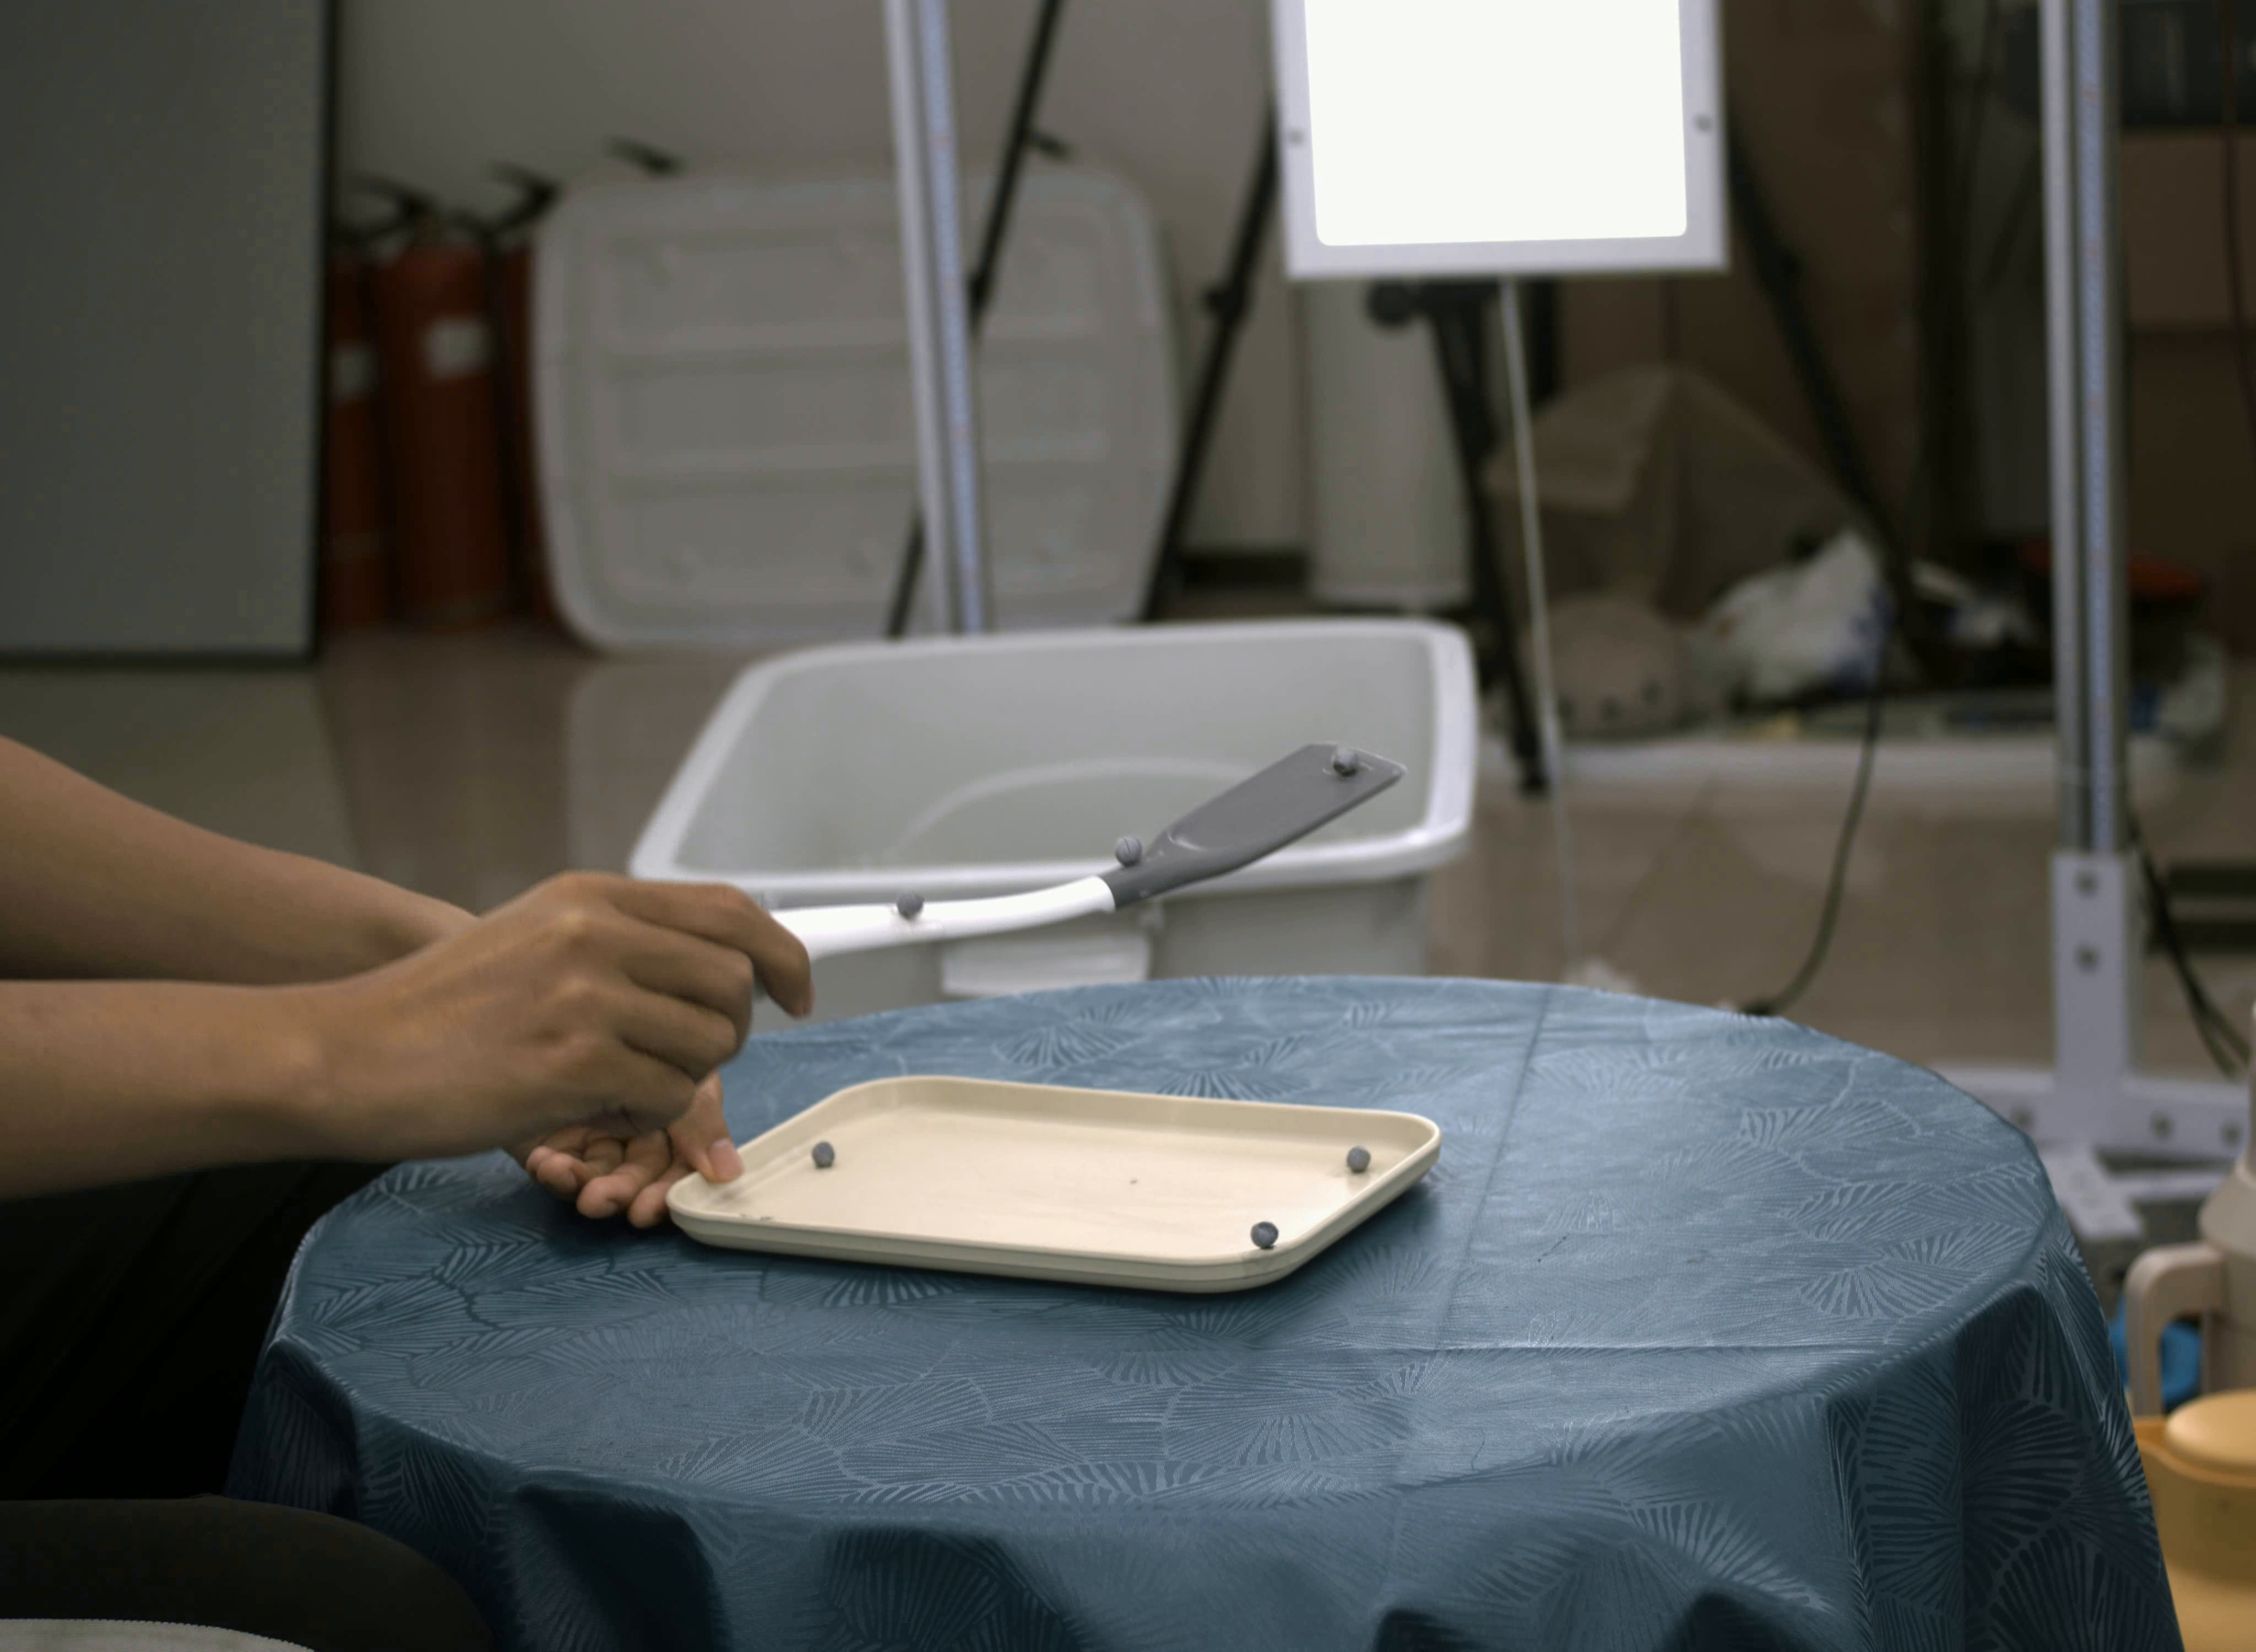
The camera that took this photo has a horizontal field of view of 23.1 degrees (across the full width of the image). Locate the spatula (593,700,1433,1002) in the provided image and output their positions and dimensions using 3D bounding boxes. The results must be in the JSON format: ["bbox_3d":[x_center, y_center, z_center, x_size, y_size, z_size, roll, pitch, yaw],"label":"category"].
[{"bbox_3d":[-0.033,0.005,1.714,0.281,0.032,0.060,-15,15,-27],"label":"spatula"}]

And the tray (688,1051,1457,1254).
[{"bbox_3d":[-0.018,0.112,1.898,0.244,0.017,0.167,2,14,29],"label":"tray"}]
